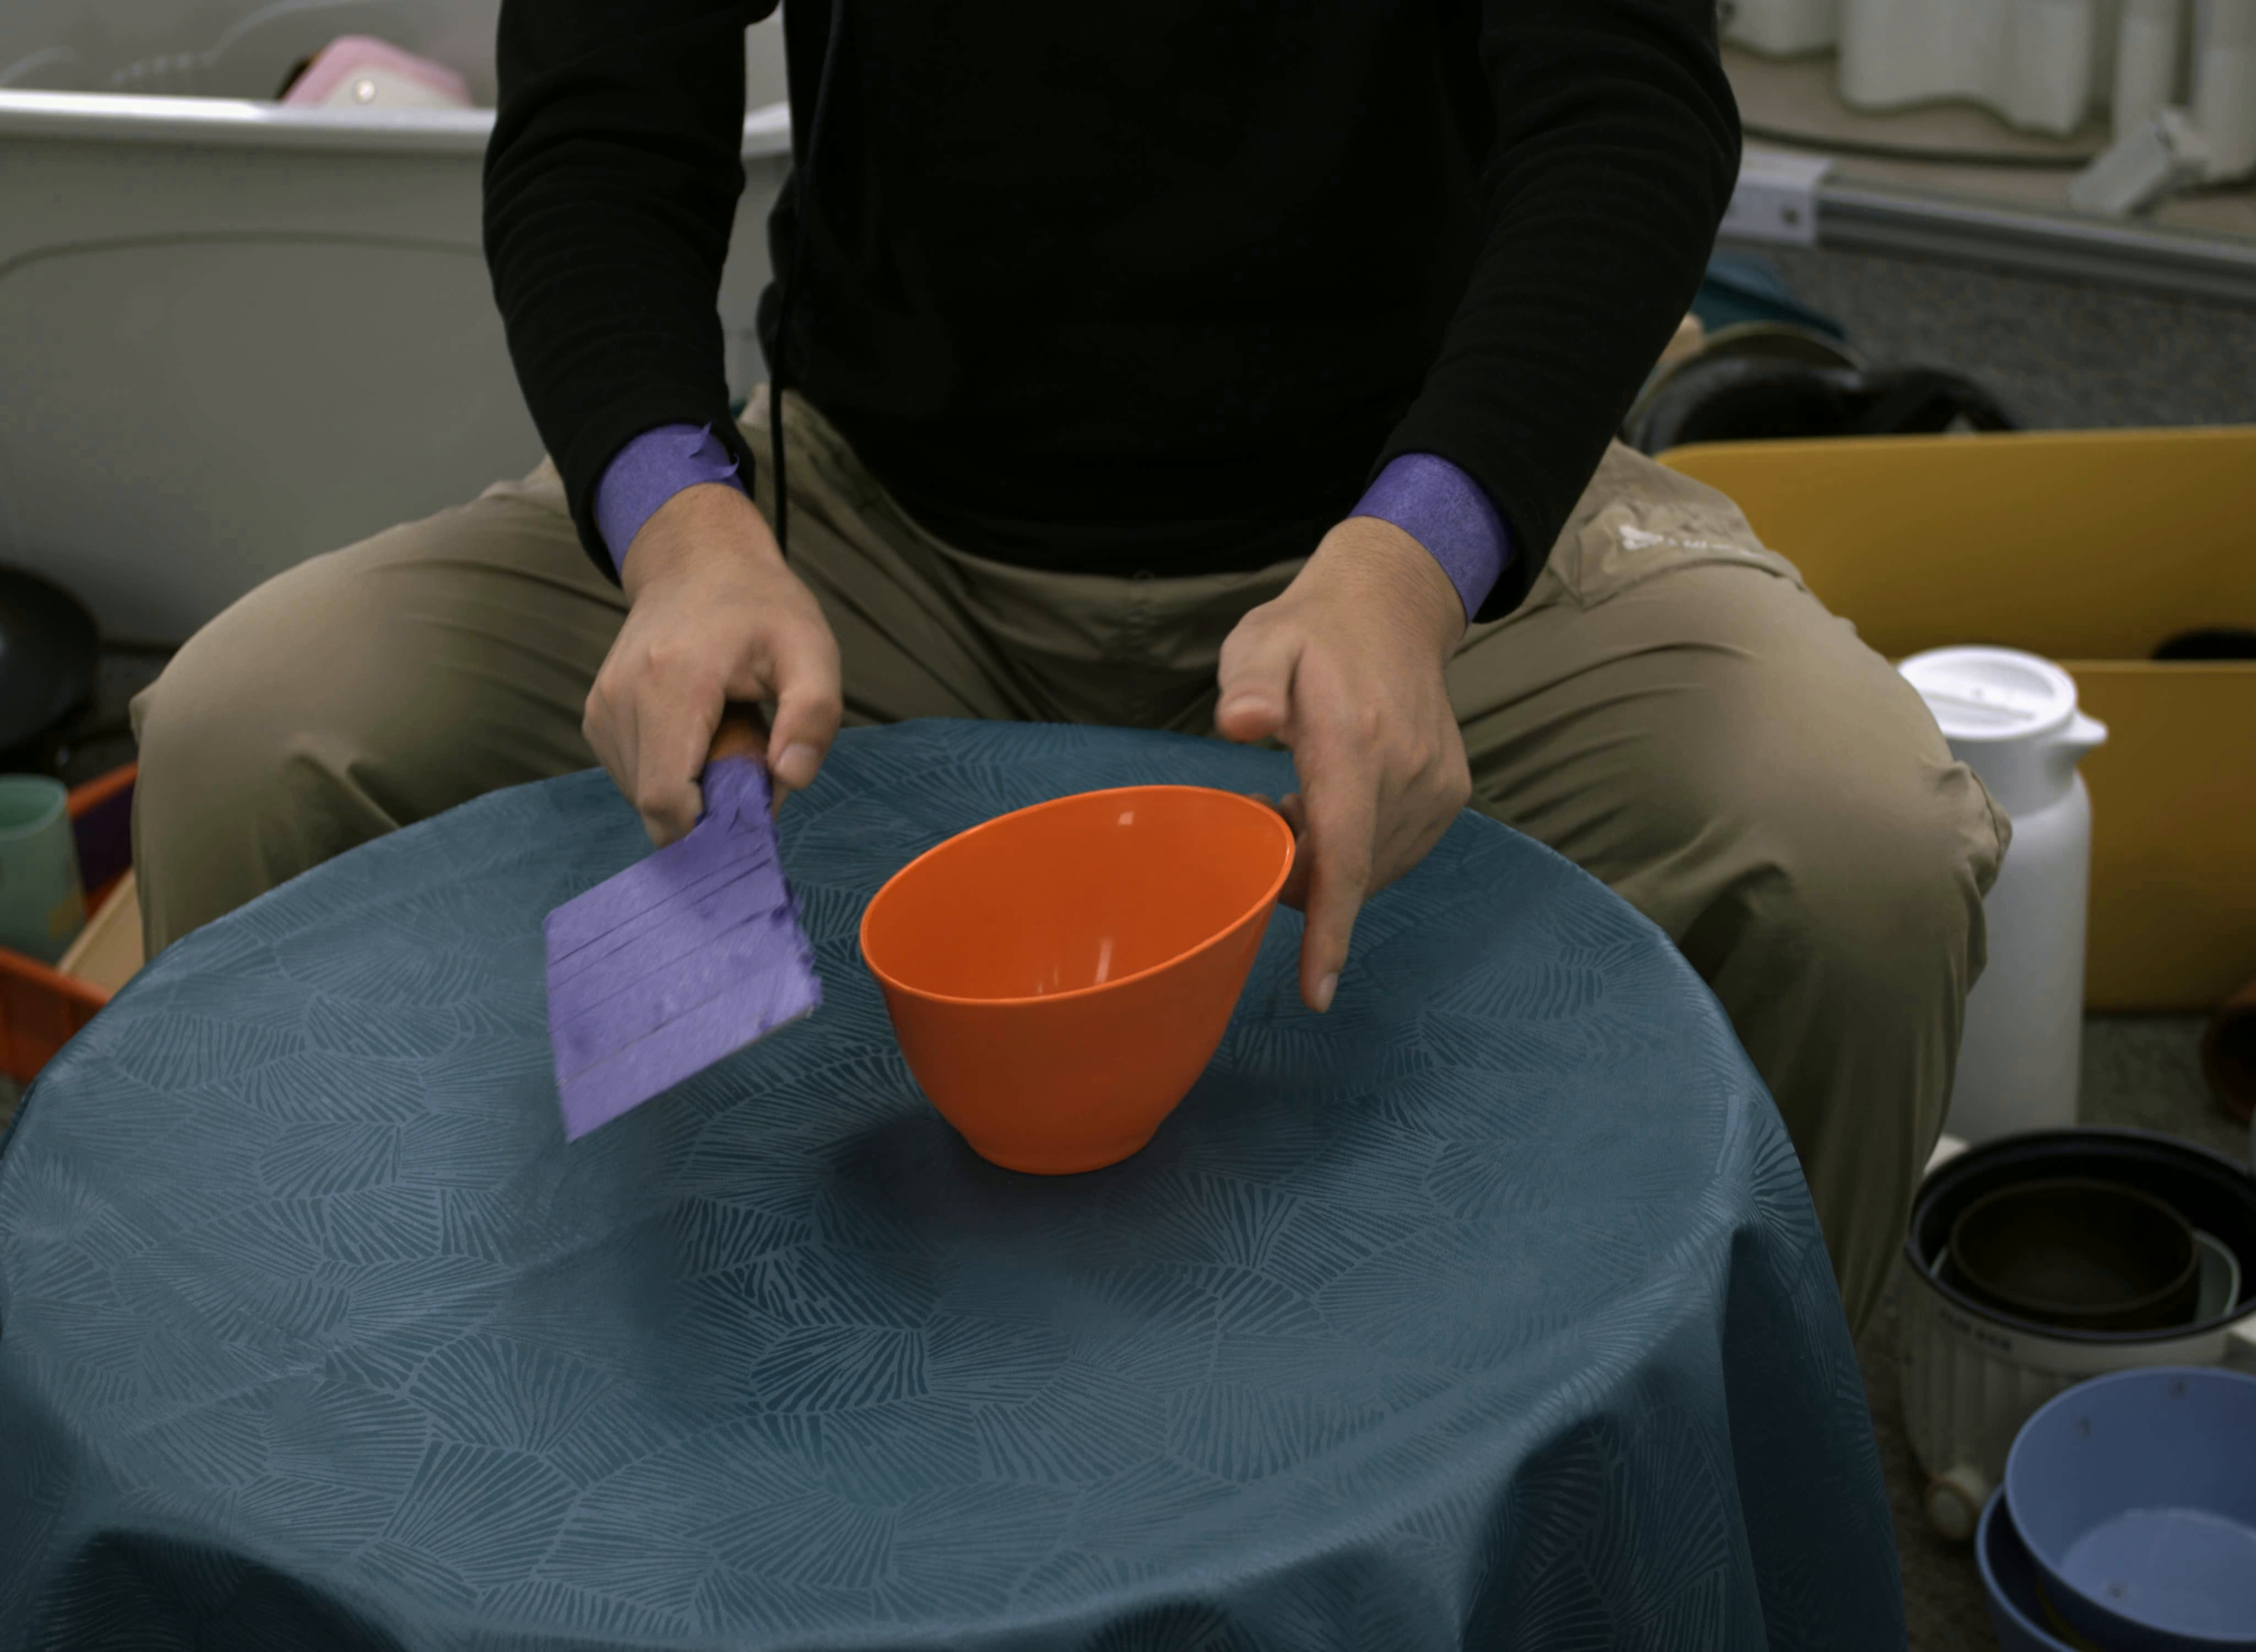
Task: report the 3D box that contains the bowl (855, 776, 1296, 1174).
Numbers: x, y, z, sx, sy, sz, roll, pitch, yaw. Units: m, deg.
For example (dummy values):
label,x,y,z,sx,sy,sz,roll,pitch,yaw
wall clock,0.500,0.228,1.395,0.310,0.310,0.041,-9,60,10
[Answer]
label,x,y,z,sx,sy,sz,roll,pitch,yaw
bowl,-0.016,0.056,1.873,0.147,0.103,0.150,-1,30,1

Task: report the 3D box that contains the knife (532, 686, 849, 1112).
label,x,y,z,sx,sy,sz,roll,pitch,yaw
knife,-0.155,0.021,1.891,0.103,0.032,0.317,-28,18,1
